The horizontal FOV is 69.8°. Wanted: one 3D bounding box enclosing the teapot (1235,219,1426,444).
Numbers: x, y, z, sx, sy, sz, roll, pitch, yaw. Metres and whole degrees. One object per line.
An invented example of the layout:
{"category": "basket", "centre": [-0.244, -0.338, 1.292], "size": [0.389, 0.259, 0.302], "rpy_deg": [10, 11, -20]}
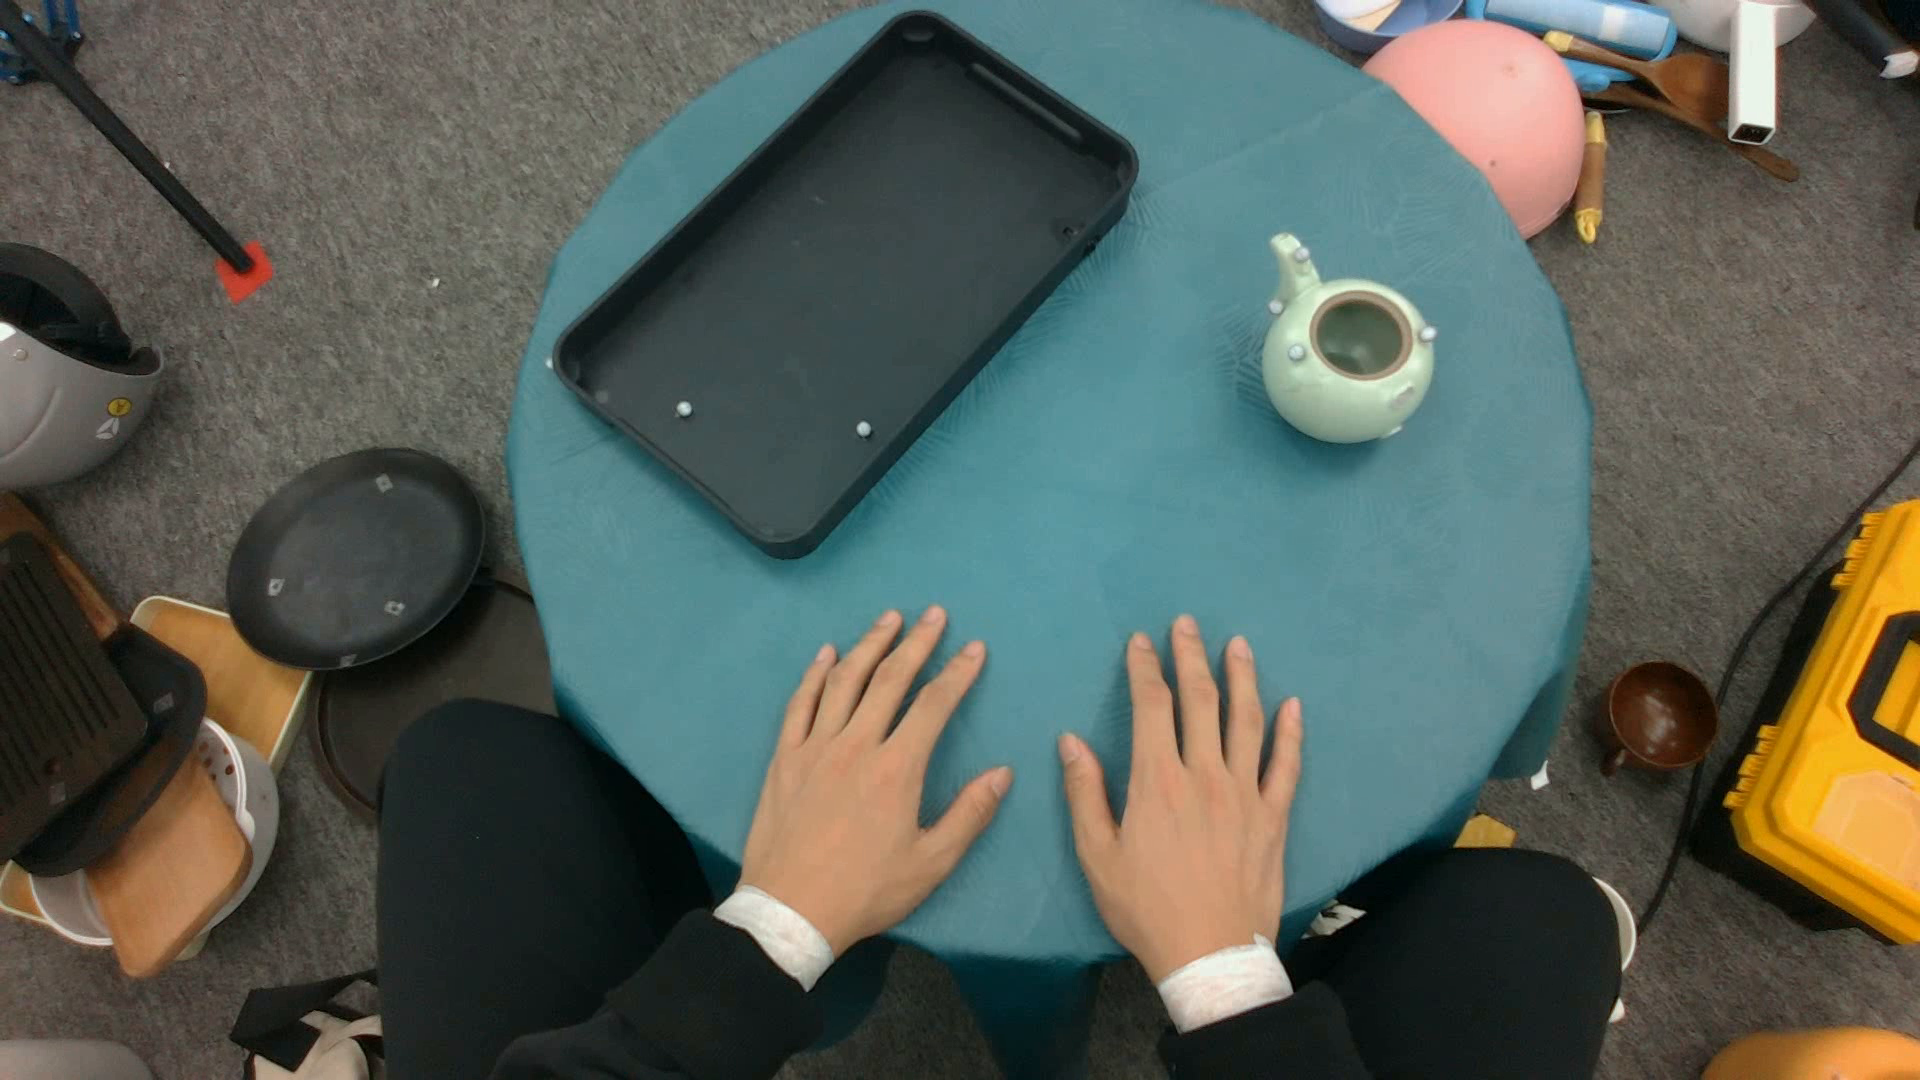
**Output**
{"category": "teapot", "centre": [0.193, -0.104, 0.742], "size": [0.088, 0.074, 0.144], "rpy_deg": [-31, 71, -11]}

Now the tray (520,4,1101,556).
{"category": "tray", "centre": [-0.078, -0.156, 0.781], "size": [0.184, 0.037, 0.319], "rpy_deg": [35, 73, 12]}
